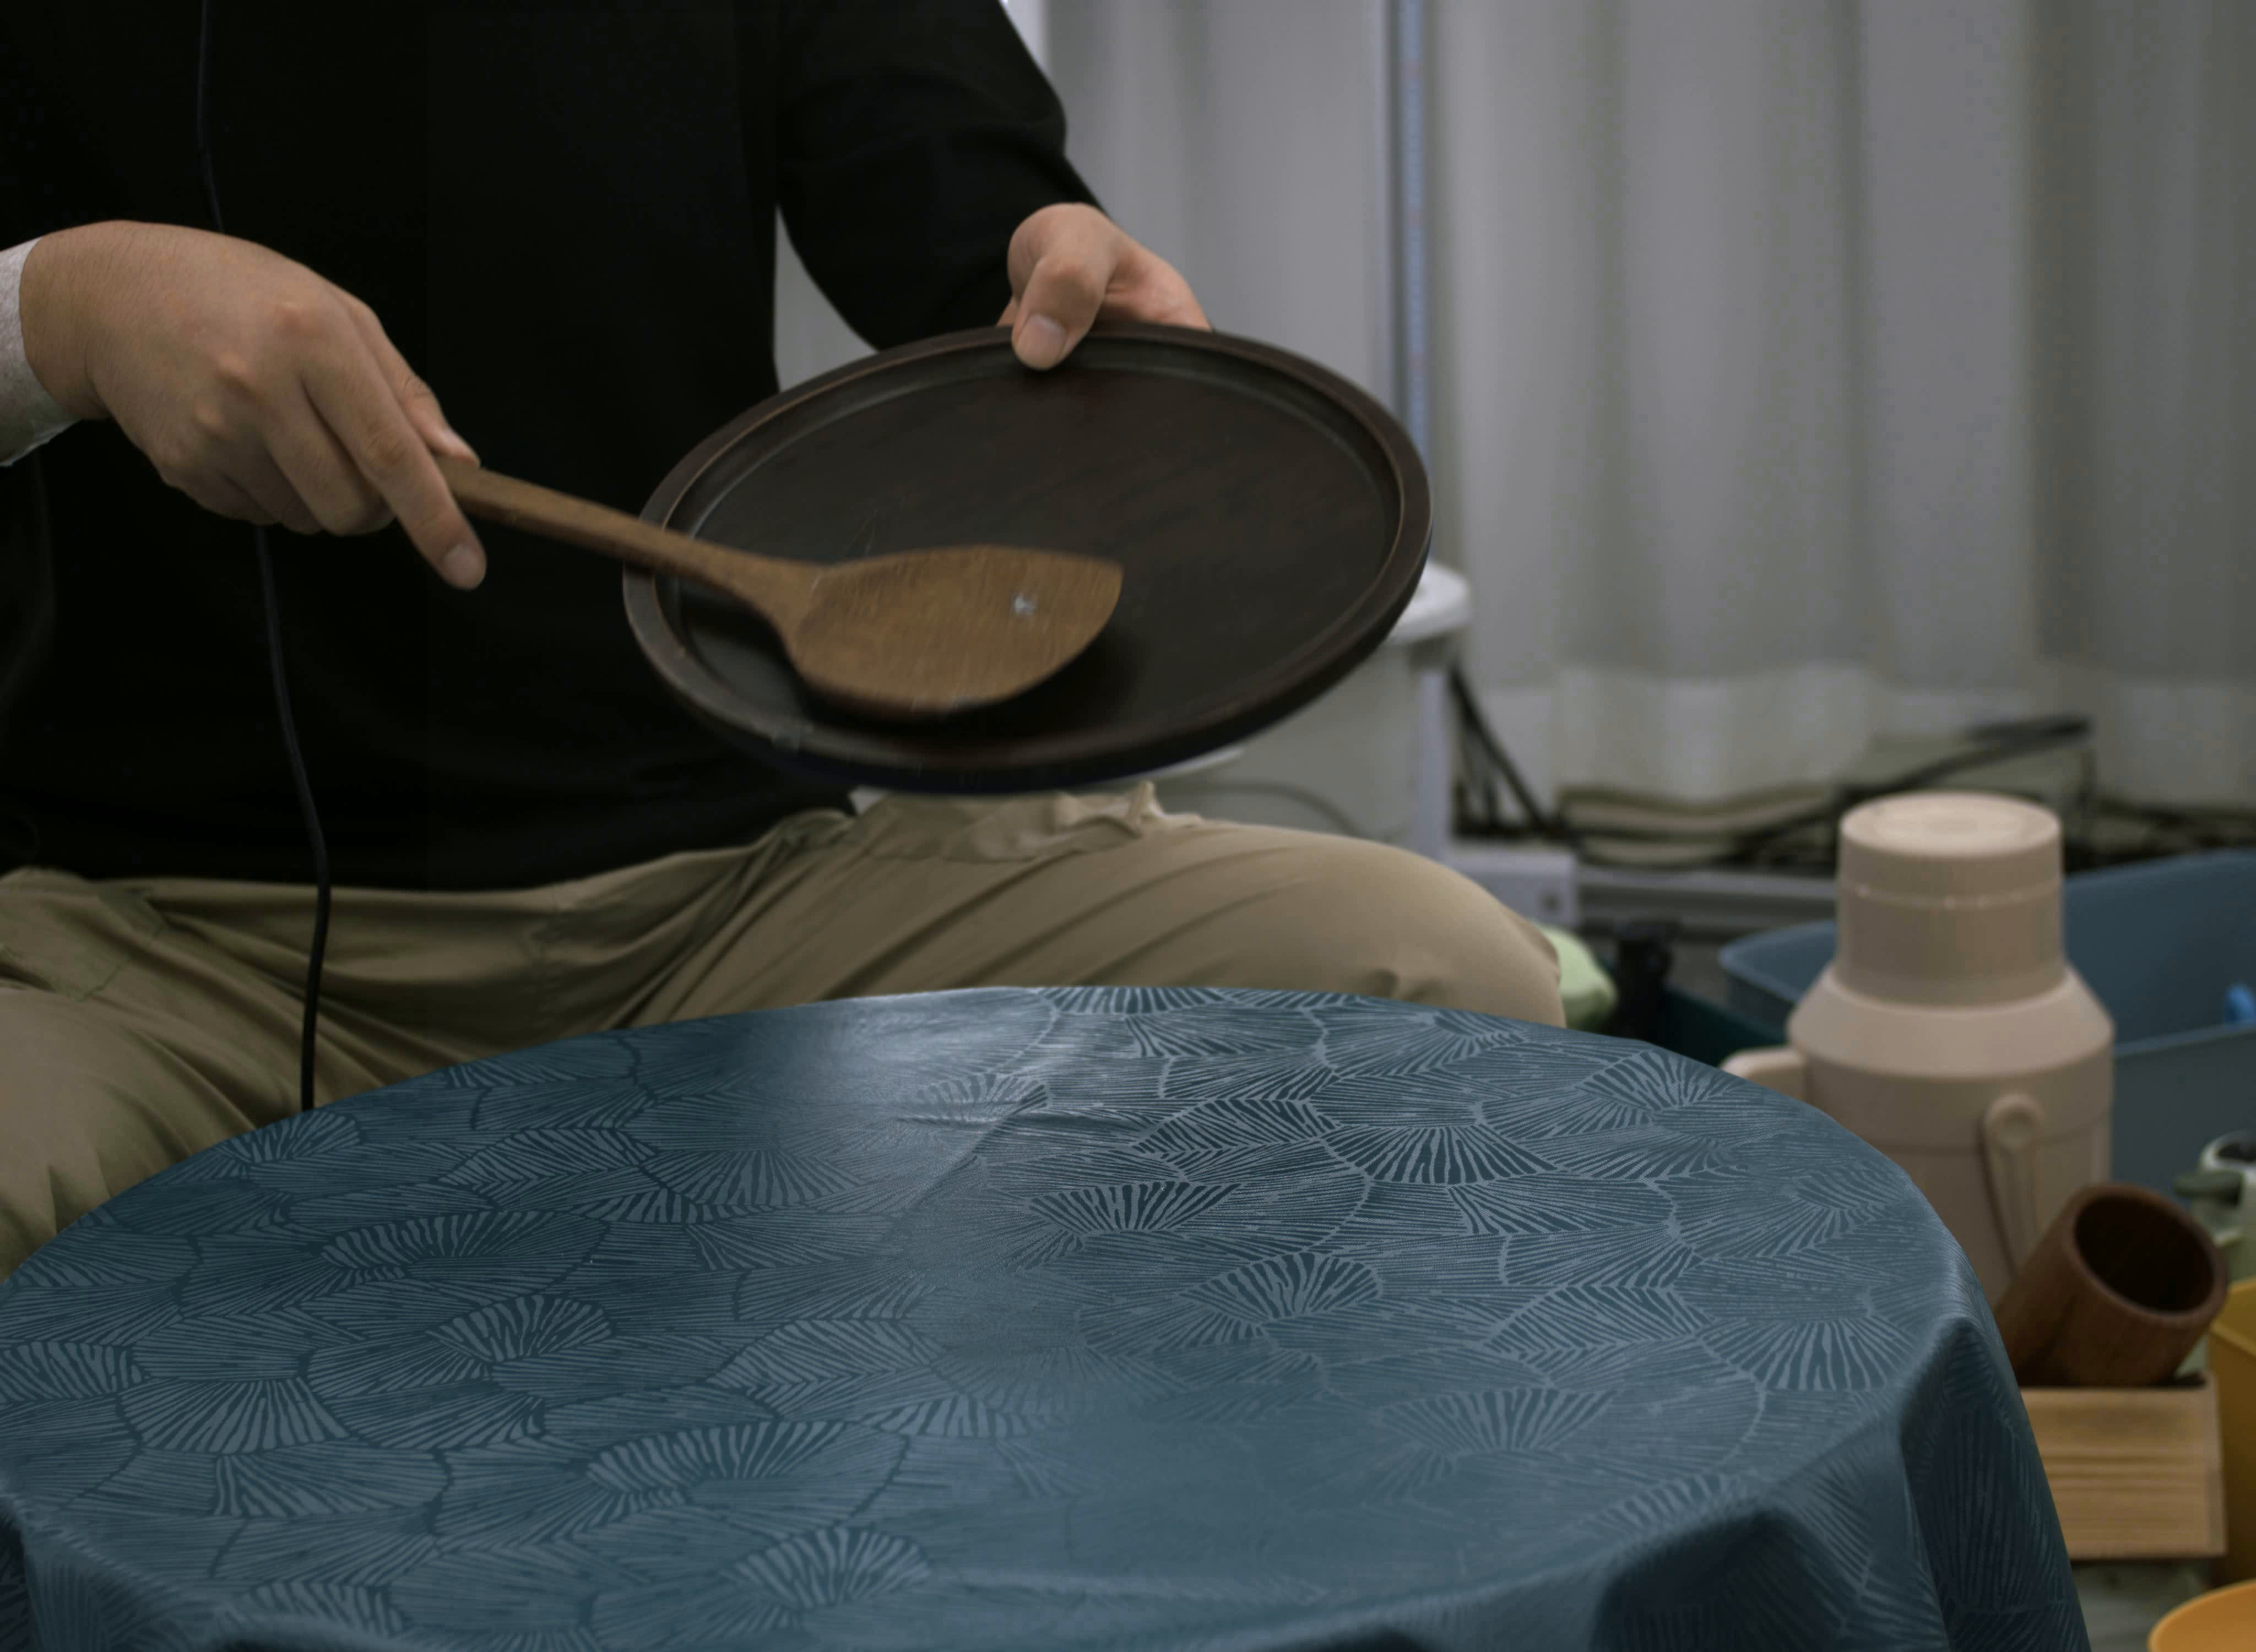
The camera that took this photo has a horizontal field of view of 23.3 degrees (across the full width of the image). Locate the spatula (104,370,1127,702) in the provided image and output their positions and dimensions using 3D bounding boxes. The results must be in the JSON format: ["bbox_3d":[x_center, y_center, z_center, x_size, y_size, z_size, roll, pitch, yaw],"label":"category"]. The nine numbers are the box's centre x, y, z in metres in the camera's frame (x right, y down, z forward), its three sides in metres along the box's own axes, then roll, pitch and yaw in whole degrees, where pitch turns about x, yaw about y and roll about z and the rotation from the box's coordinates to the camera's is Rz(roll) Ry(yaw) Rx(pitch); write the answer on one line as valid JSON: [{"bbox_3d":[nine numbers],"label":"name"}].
[{"bbox_3d":[-0.175,-0.098,1.714,0.388,0.015,0.096,16,38,30],"label":"spatula"}]

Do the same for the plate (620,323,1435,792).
[{"bbox_3d":[-0.031,-0.086,1.696,0.254,0.029,0.258,-4,35,3],"label":"plate"}]
